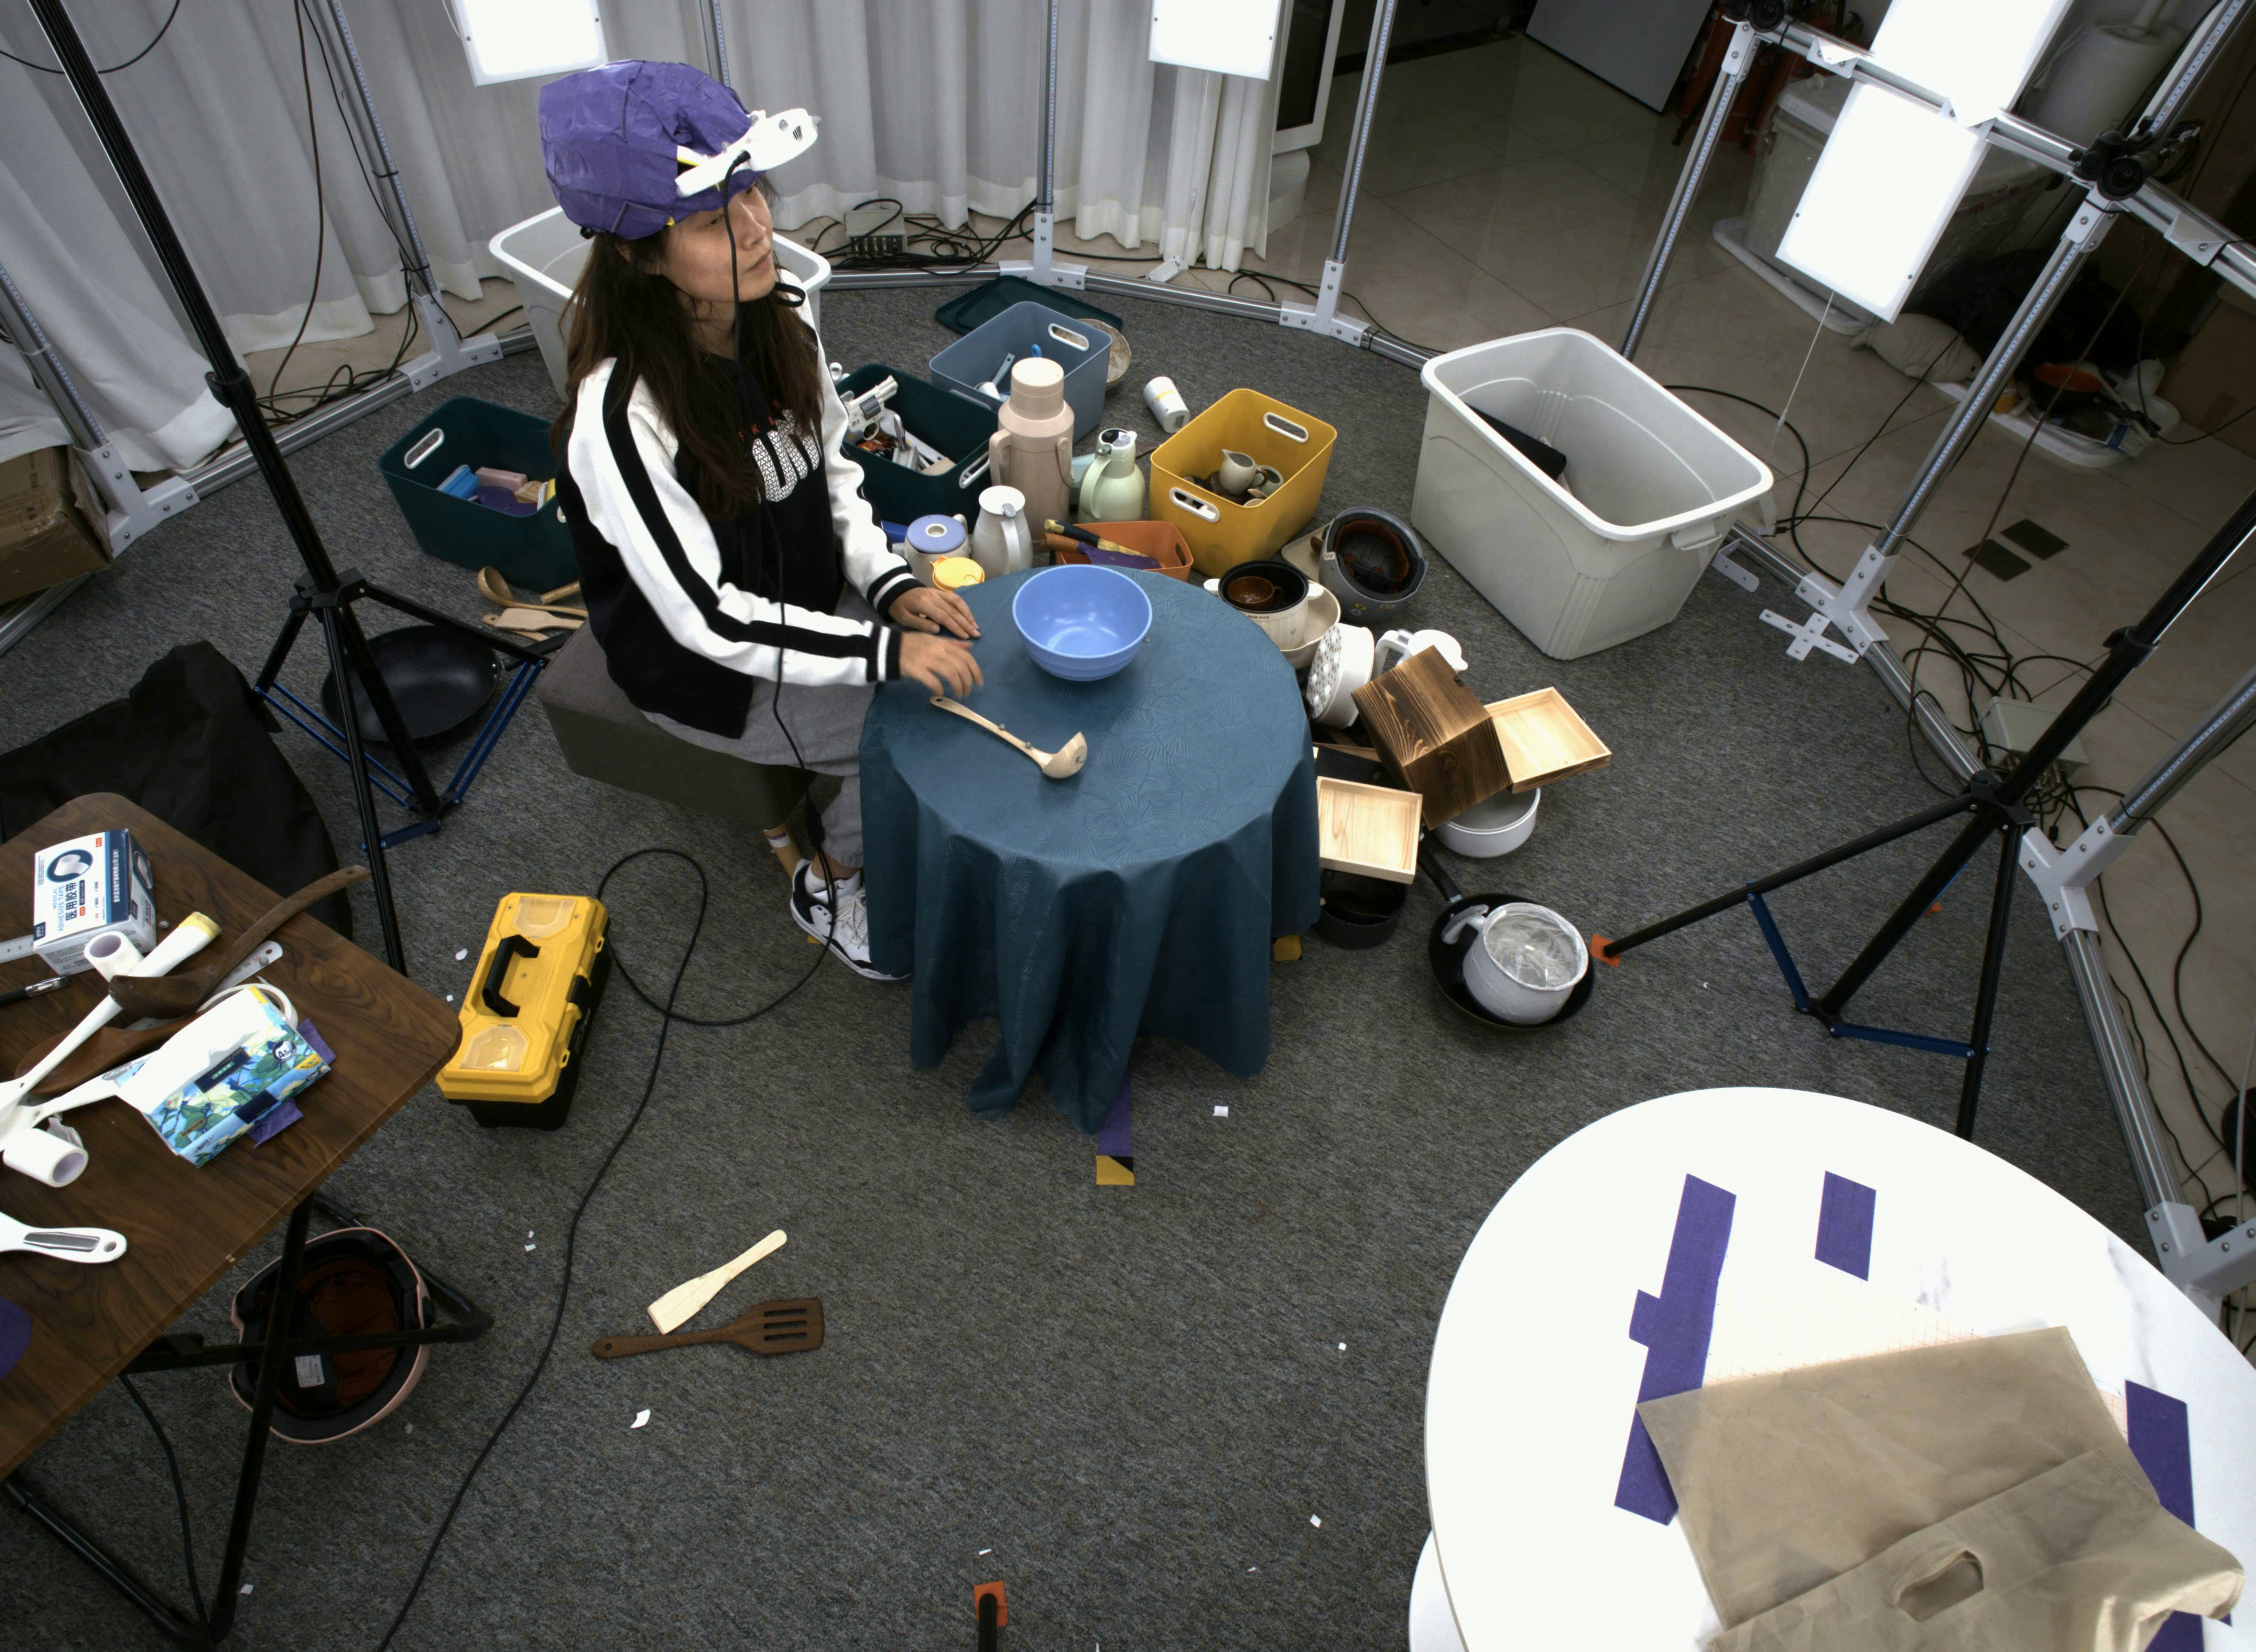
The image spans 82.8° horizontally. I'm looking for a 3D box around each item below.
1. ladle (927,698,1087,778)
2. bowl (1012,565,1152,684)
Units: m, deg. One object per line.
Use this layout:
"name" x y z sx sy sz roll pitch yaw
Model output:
"ladle" -0.170 -0.142 1.735 0.257 0.071 0.073 28 52 19
"bowl" -0.066 -0.273 1.846 0.196 0.093 0.201 1 50 -2
